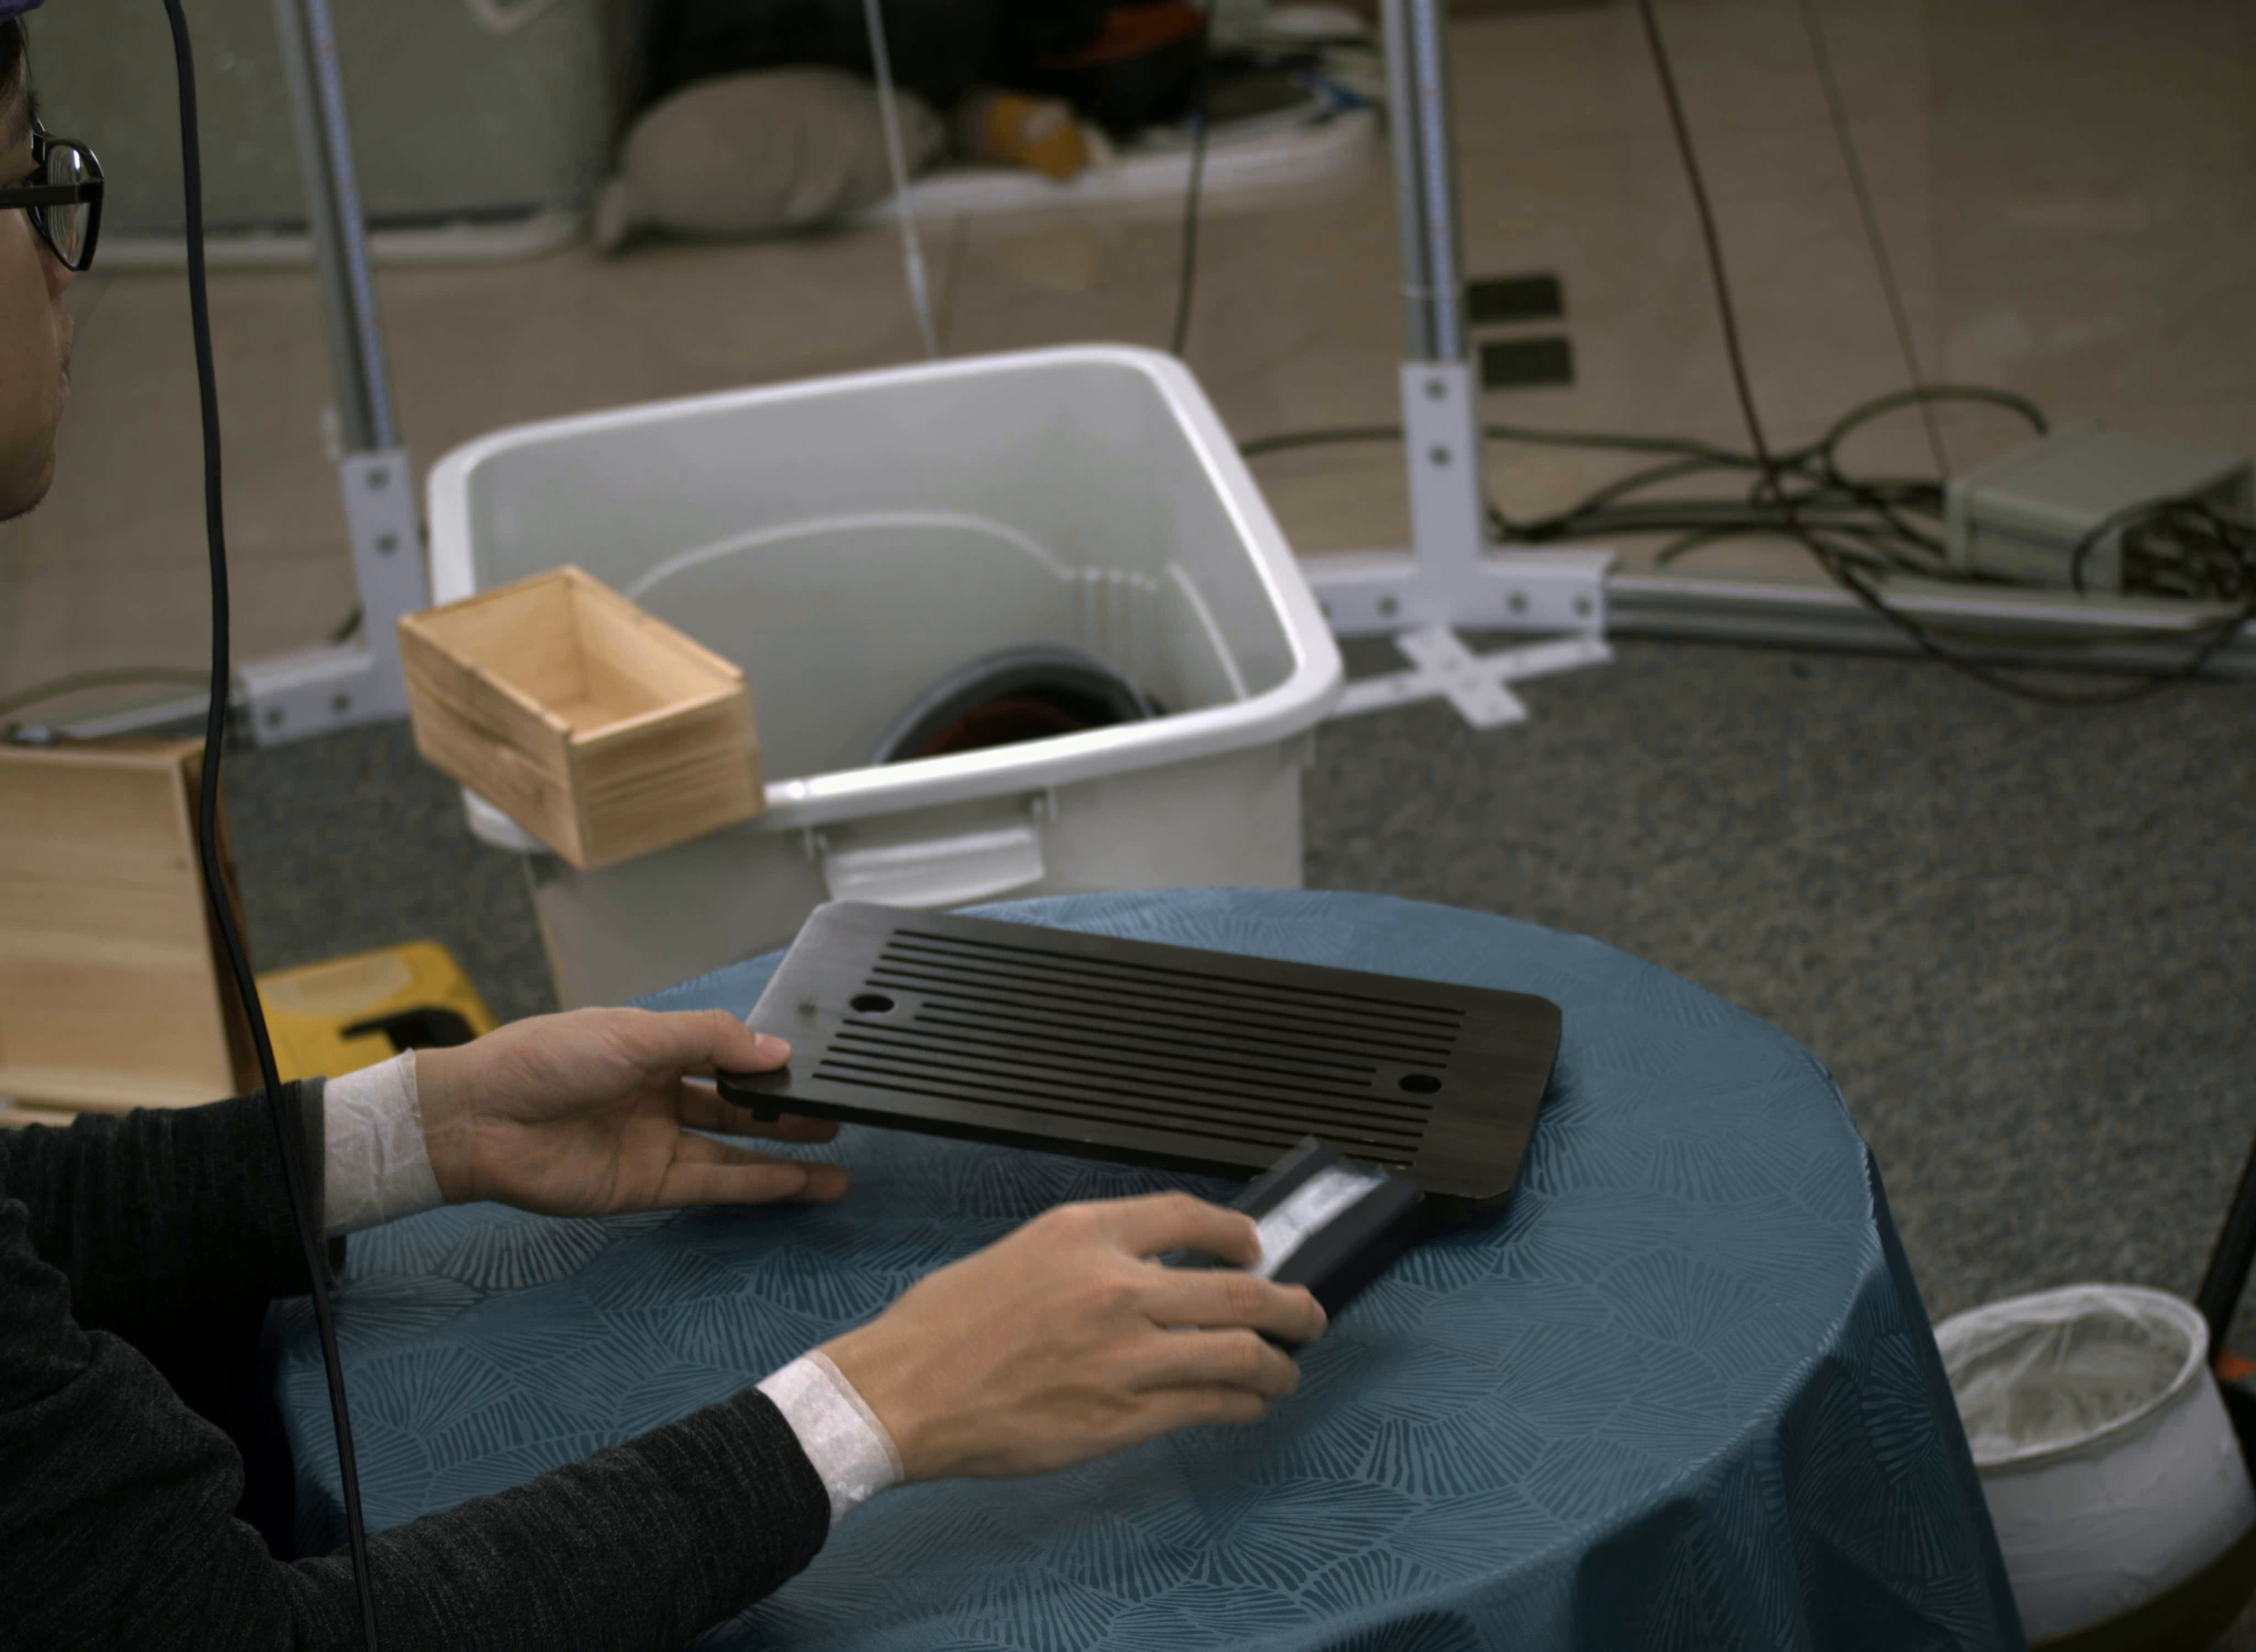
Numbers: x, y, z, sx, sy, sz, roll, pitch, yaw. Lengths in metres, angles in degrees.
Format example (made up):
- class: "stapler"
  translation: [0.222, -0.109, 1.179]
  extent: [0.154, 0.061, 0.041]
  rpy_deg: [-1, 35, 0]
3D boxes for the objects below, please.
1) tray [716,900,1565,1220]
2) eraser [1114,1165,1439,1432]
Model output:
- class: "tray"
  translation: [0.007, 0.089, 2.182]
  extent: [0.305, 0.019, 0.168]
  rpy_deg: [8, 26, 10]
- class: "eraser"
  translation: [0.053, 0.163, 1.987]
  extent: [0.053, 0.031, 0.124]
  rpy_deg: [20, 39, 33]
